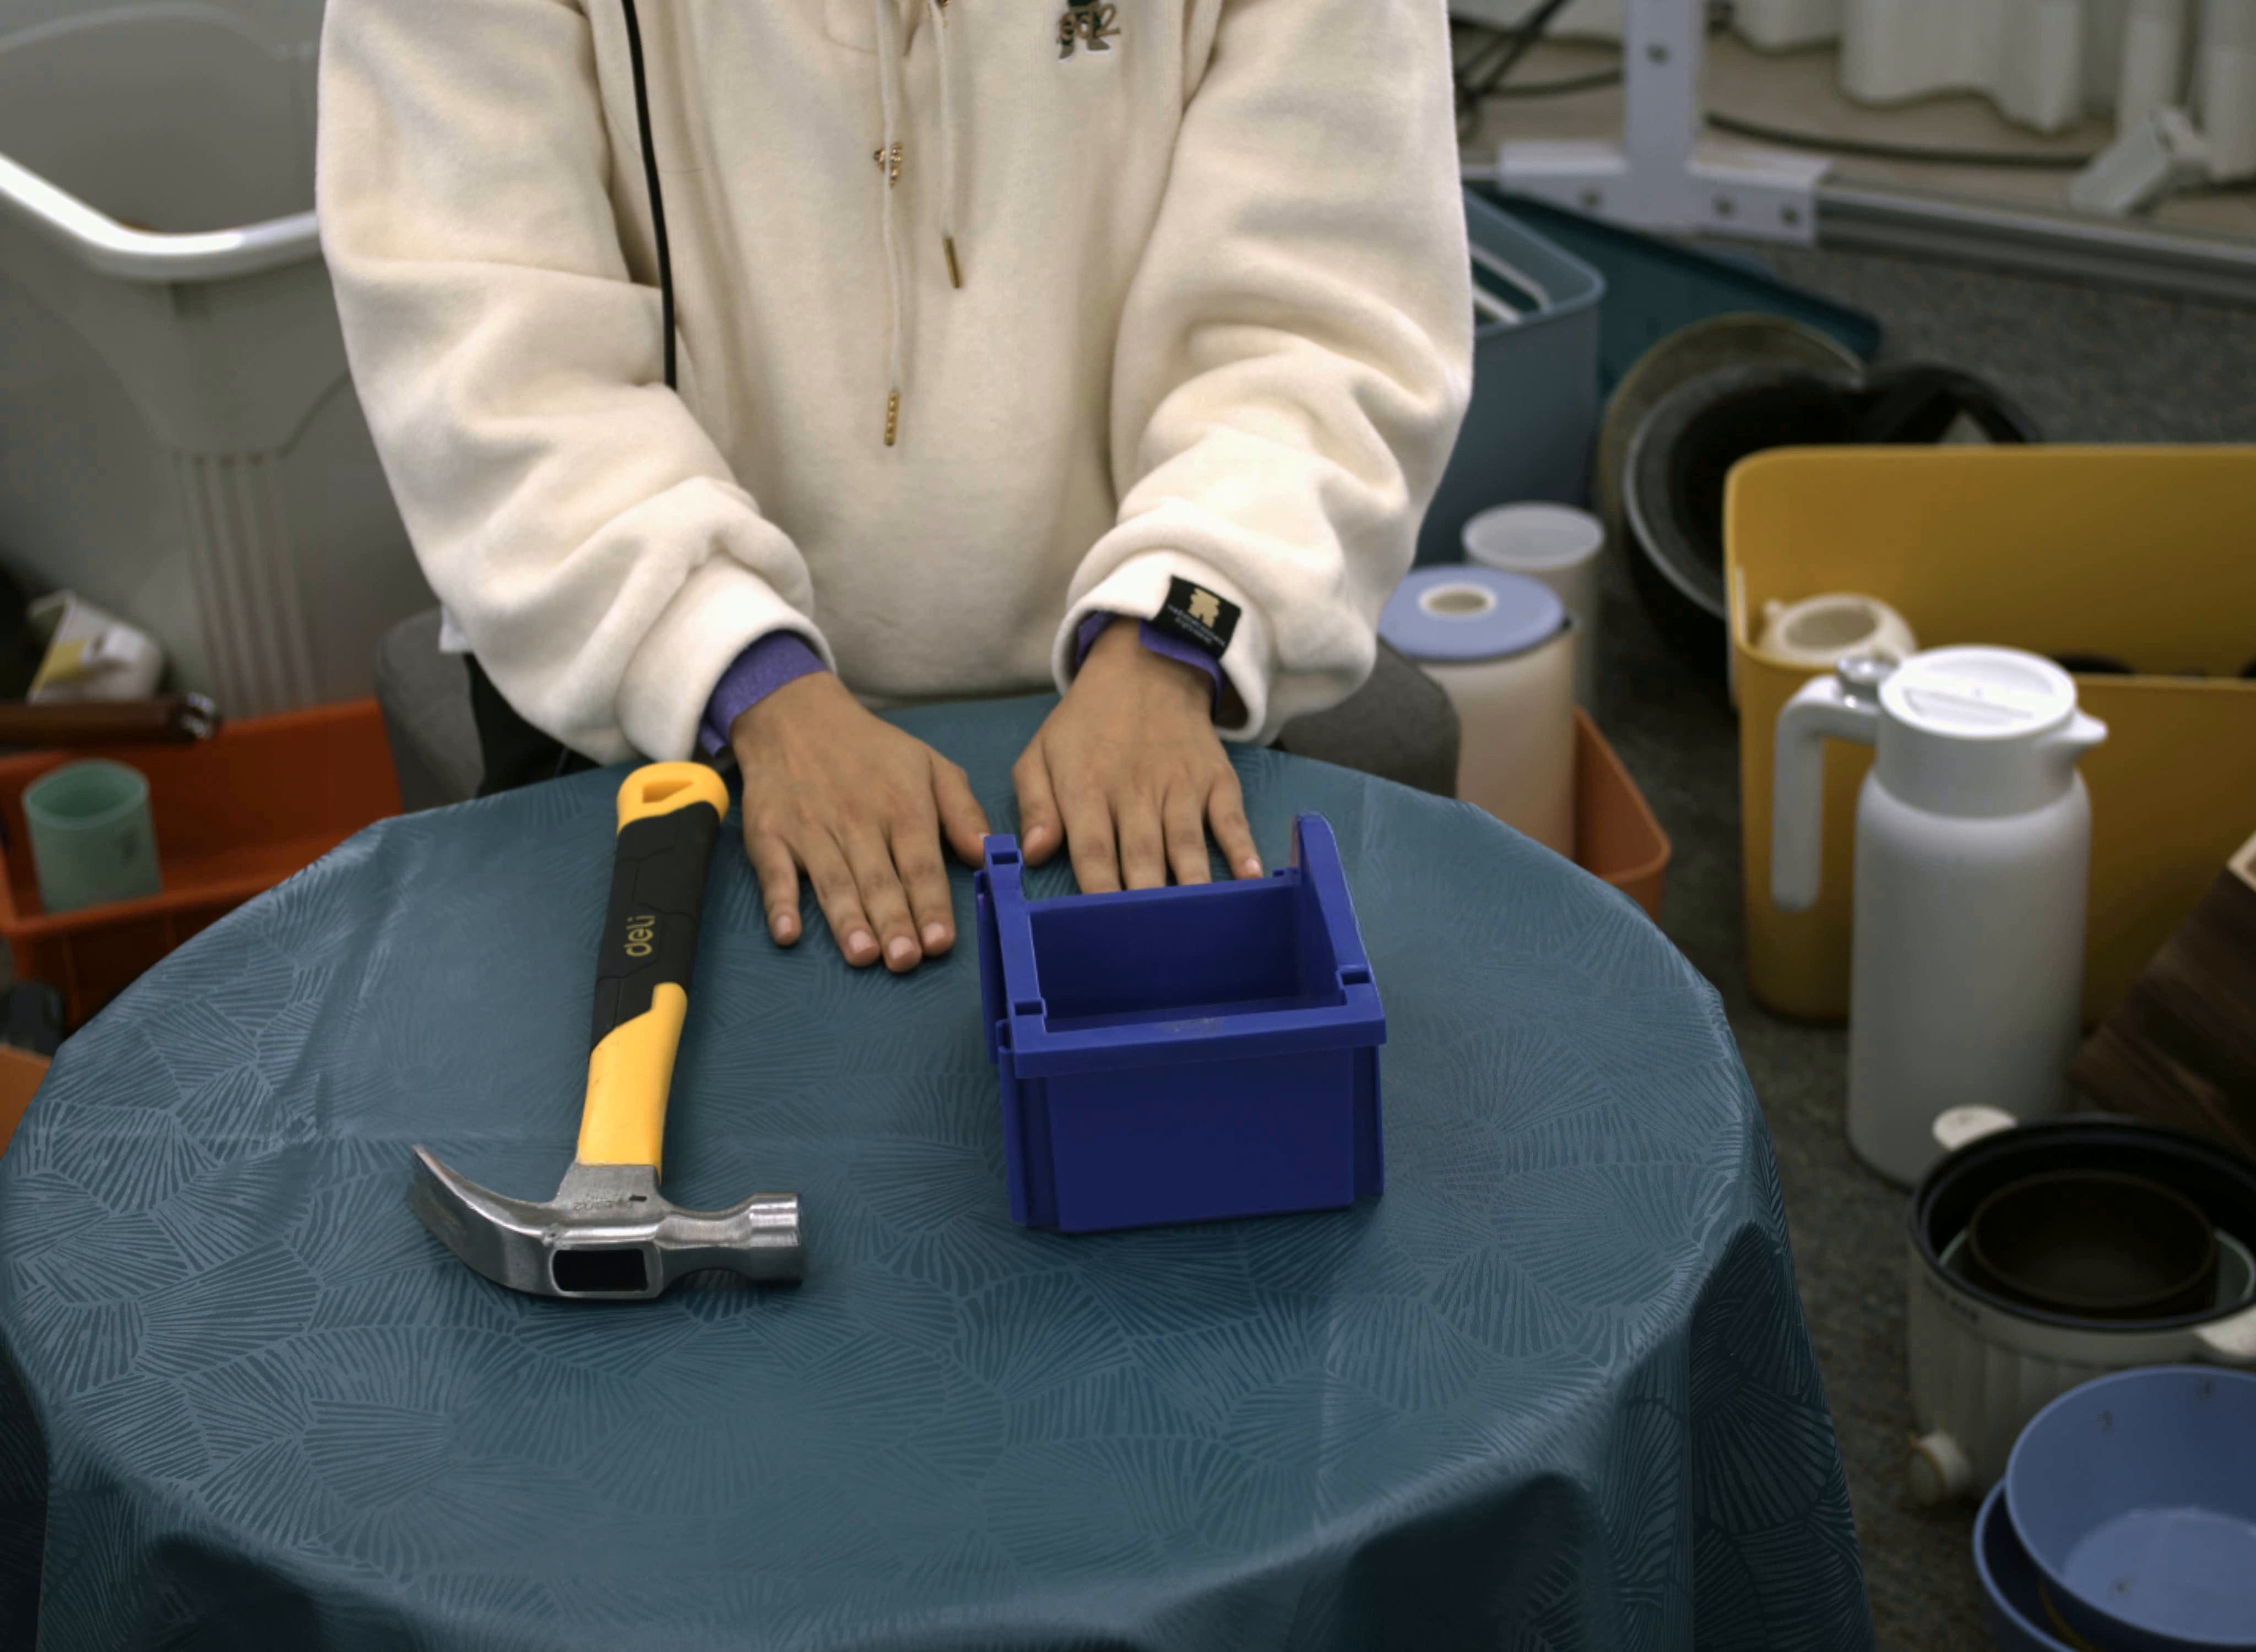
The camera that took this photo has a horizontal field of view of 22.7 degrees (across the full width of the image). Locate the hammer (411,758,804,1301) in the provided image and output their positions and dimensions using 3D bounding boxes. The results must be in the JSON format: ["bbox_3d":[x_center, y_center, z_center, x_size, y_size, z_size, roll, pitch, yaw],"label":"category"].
[{"bbox_3d":[-0.169,0.063,1.954,0.131,0.032,0.344,-3,28,3],"label":"hammer"}]

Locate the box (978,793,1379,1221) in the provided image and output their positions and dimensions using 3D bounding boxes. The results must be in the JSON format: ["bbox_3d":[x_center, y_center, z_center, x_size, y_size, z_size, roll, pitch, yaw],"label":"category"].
[{"bbox_3d":[0.014,0.056,1.900,0.124,0.081,0.182,-5,29,-3],"label":"box"}]
